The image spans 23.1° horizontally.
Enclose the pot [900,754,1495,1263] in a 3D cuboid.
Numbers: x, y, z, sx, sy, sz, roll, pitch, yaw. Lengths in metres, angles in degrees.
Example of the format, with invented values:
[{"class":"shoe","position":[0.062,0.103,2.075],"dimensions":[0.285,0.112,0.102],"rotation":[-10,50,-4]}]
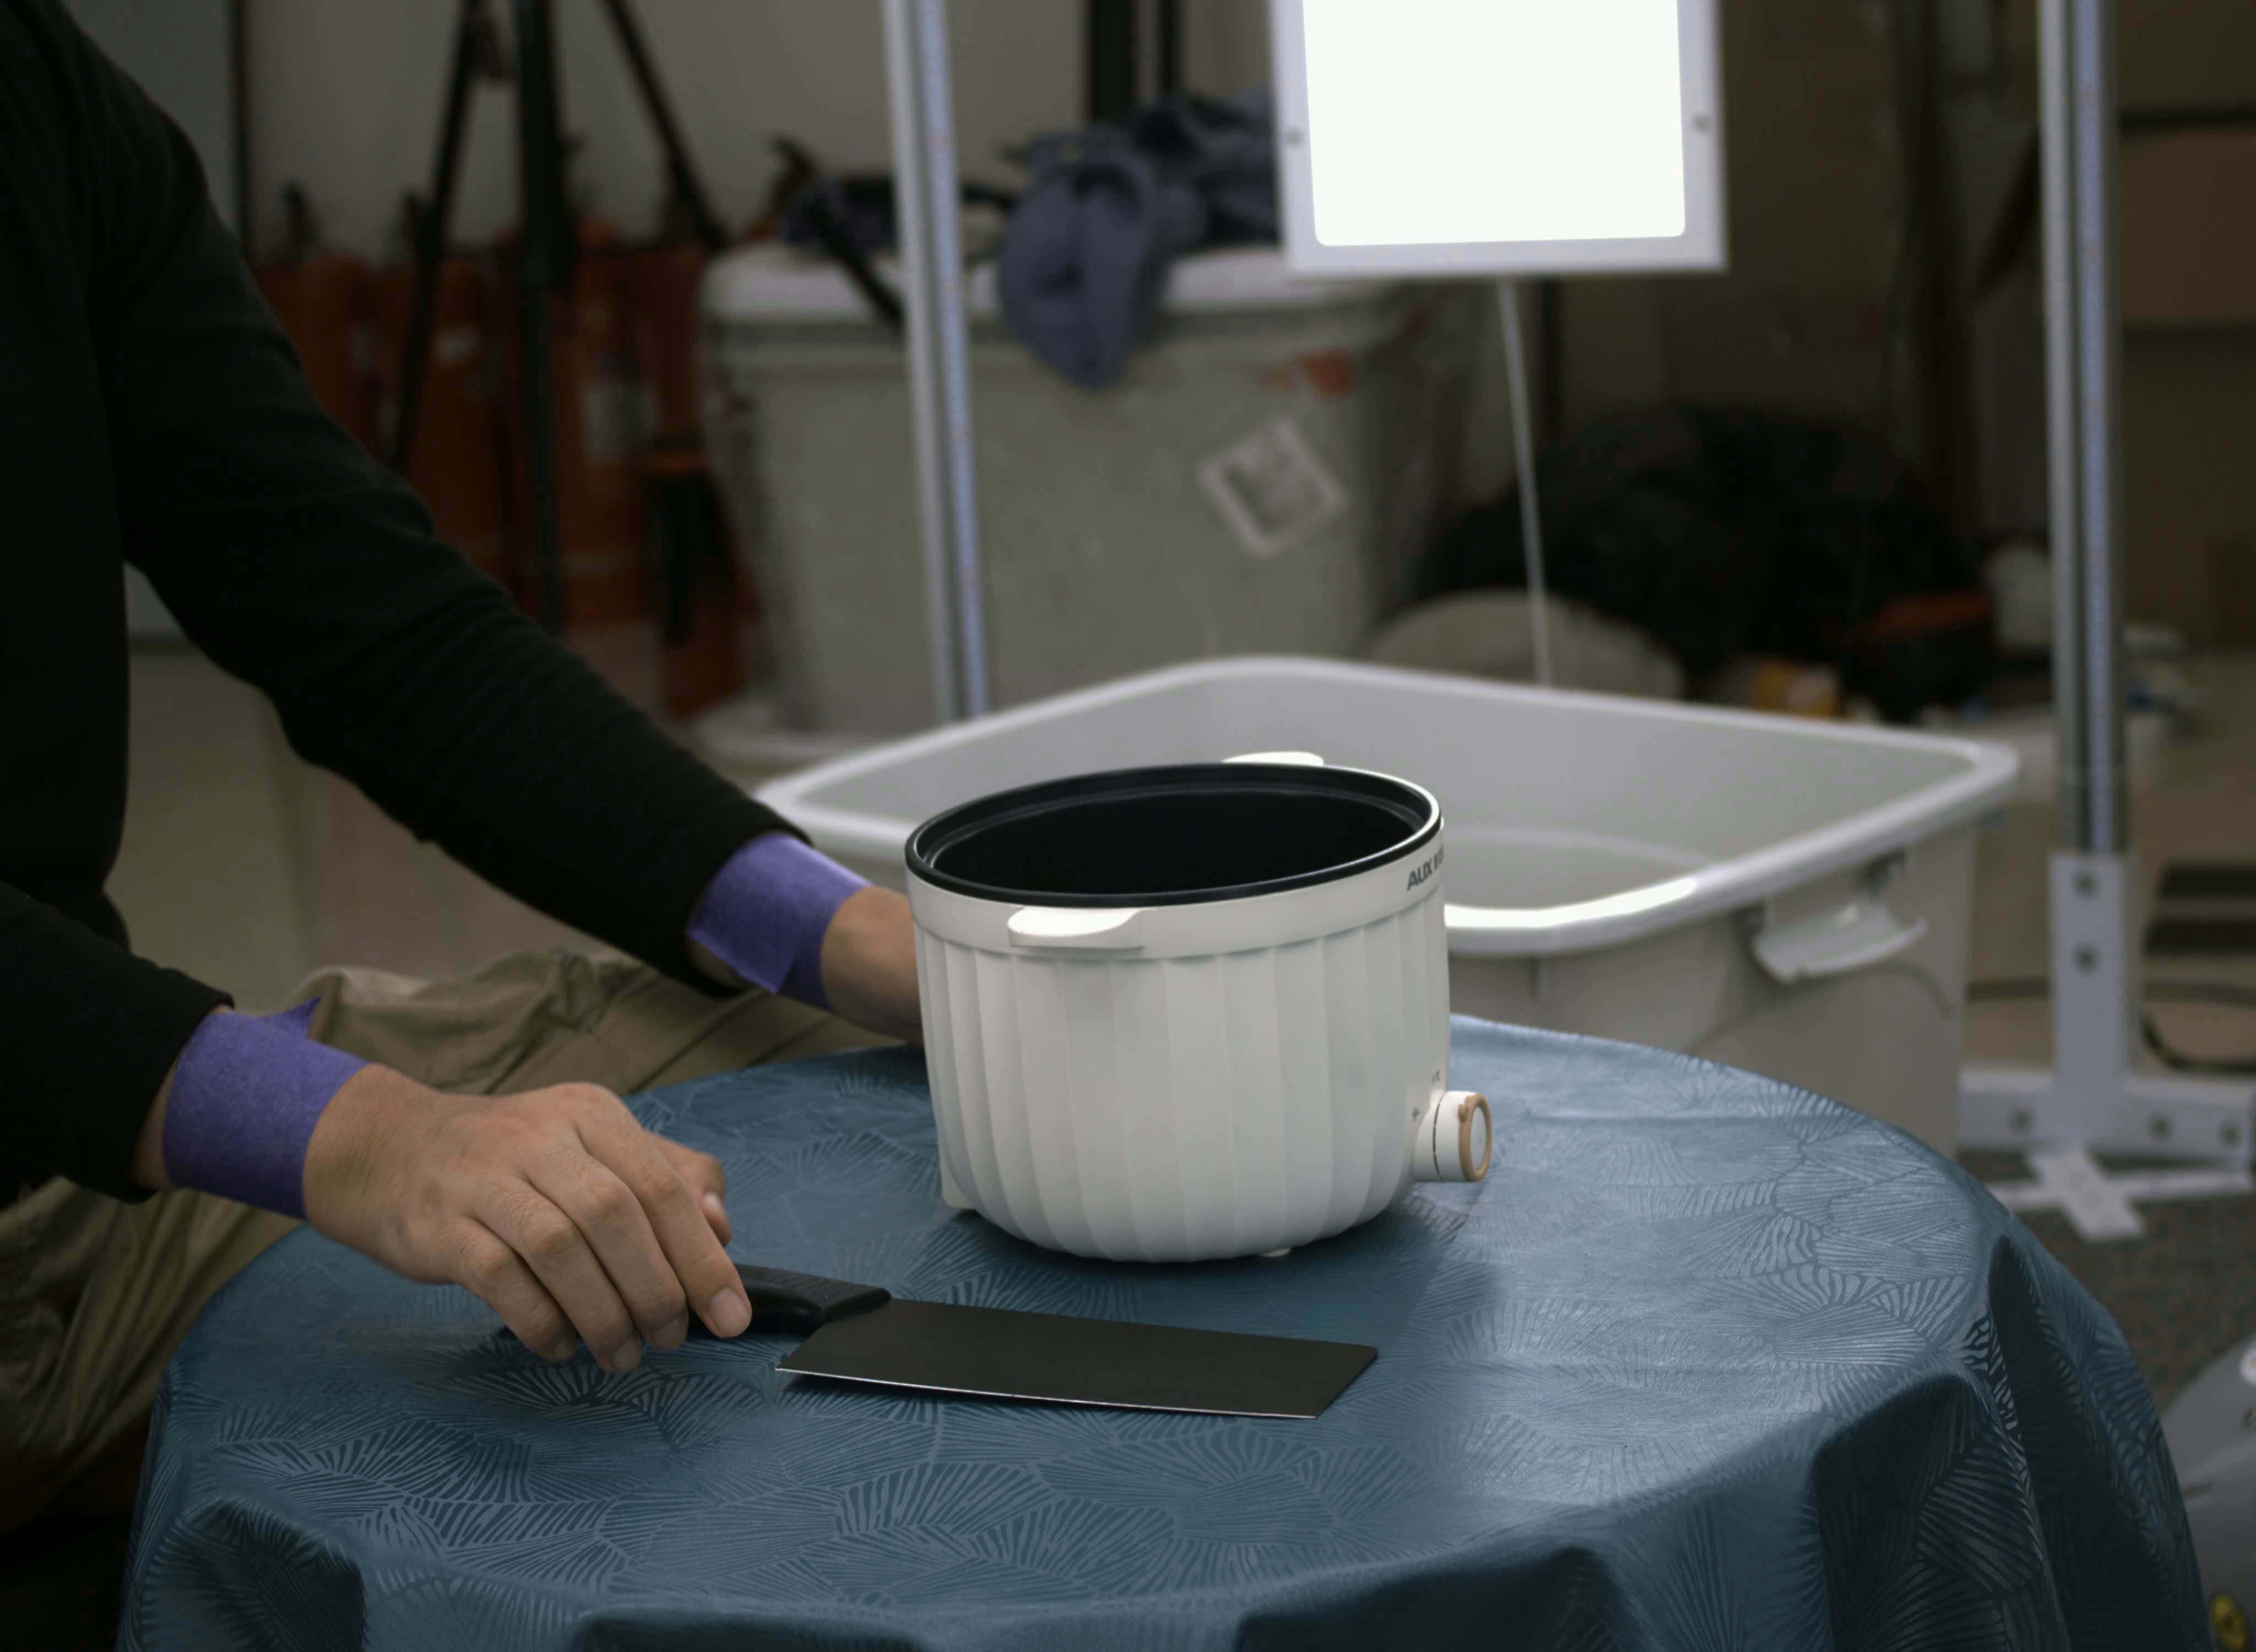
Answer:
[{"class":"pot","position":[0.025,0.064,1.855],"dimensions":[0.193,0.143,0.236],"rotation":[-3,15,22]}]

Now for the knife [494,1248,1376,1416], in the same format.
[{"class":"knife","position":[-0.069,0.162,1.752],"dimensions":[0.307,0.021,0.079],"rotation":[5,17,28]}]
